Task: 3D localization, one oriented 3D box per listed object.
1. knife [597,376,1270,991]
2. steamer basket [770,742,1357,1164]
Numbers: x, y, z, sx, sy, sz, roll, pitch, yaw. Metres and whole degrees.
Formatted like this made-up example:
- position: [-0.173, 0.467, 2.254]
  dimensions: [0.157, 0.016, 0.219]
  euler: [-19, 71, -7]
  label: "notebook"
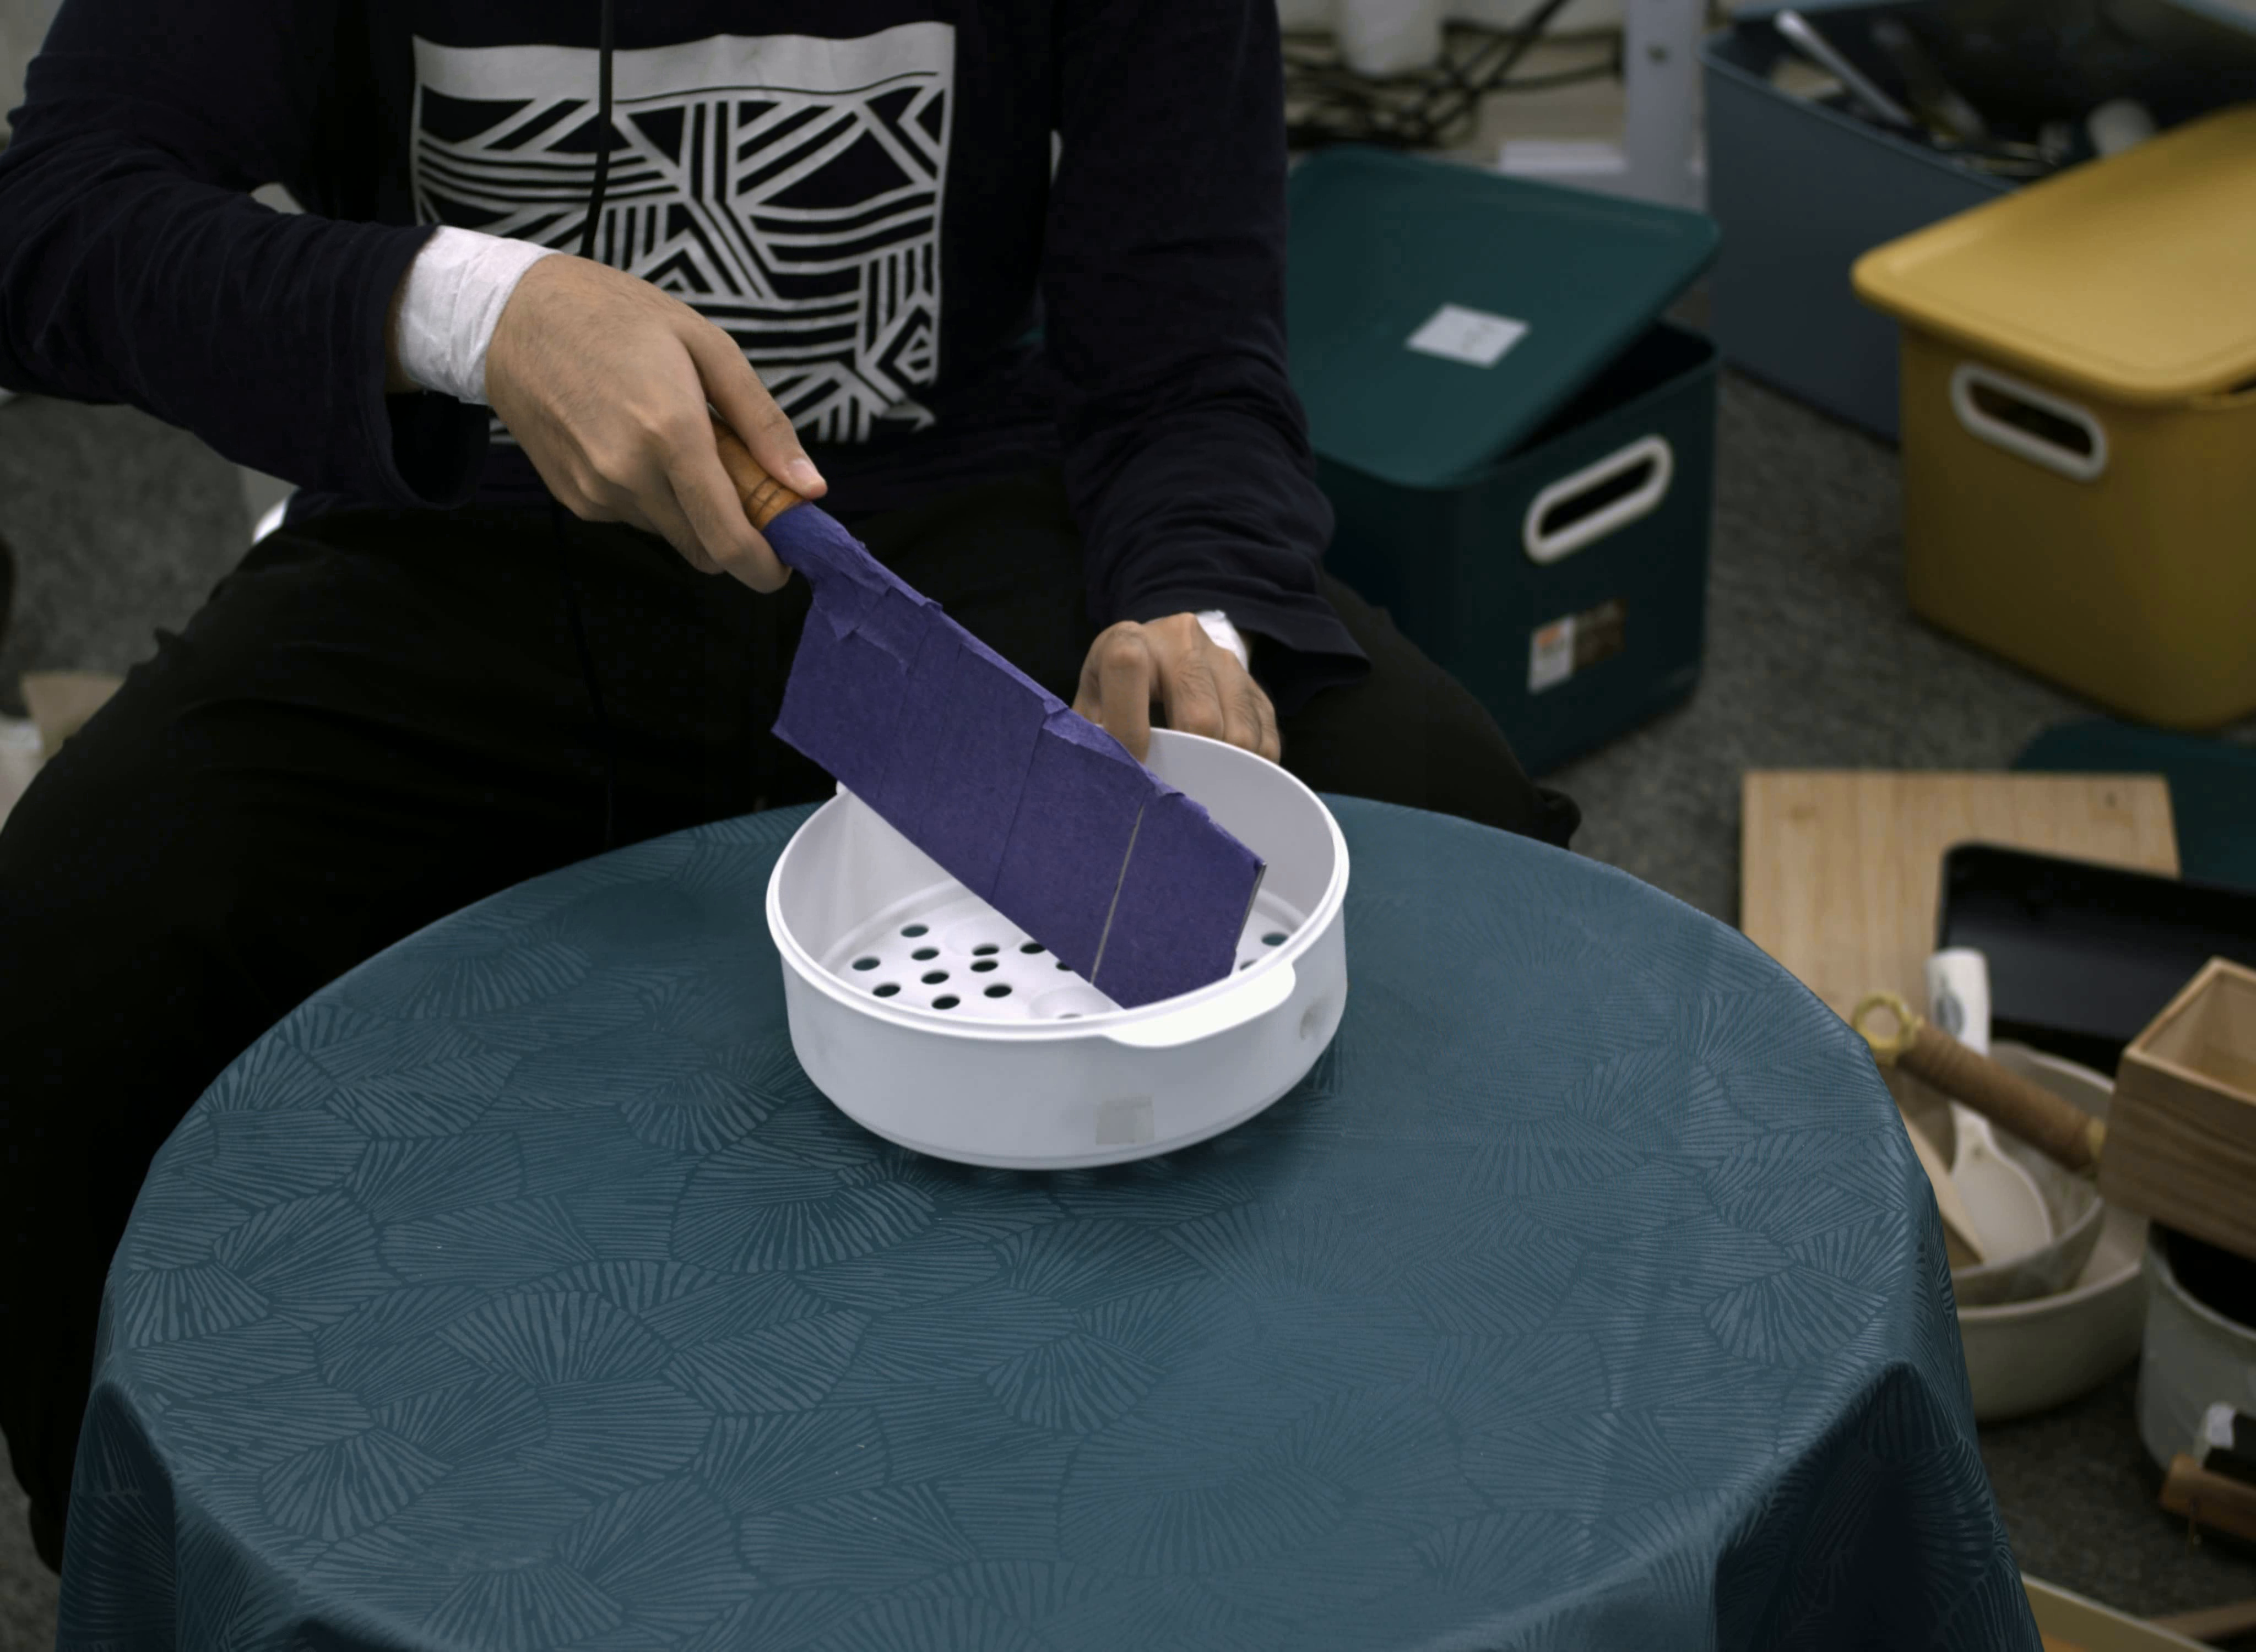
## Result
- position: [-0.077, -0.039, 1.932]
  dimensions: [0.316, 0.102, 0.032]
  euler: [38, 36, 29]
  label: "knife"
- position: [-0.020, 0.044, 1.923]
  dimensions: [0.203, 0.068, 0.231]
  euler: [-18, 29, -25]
  label: "steamer basket"
